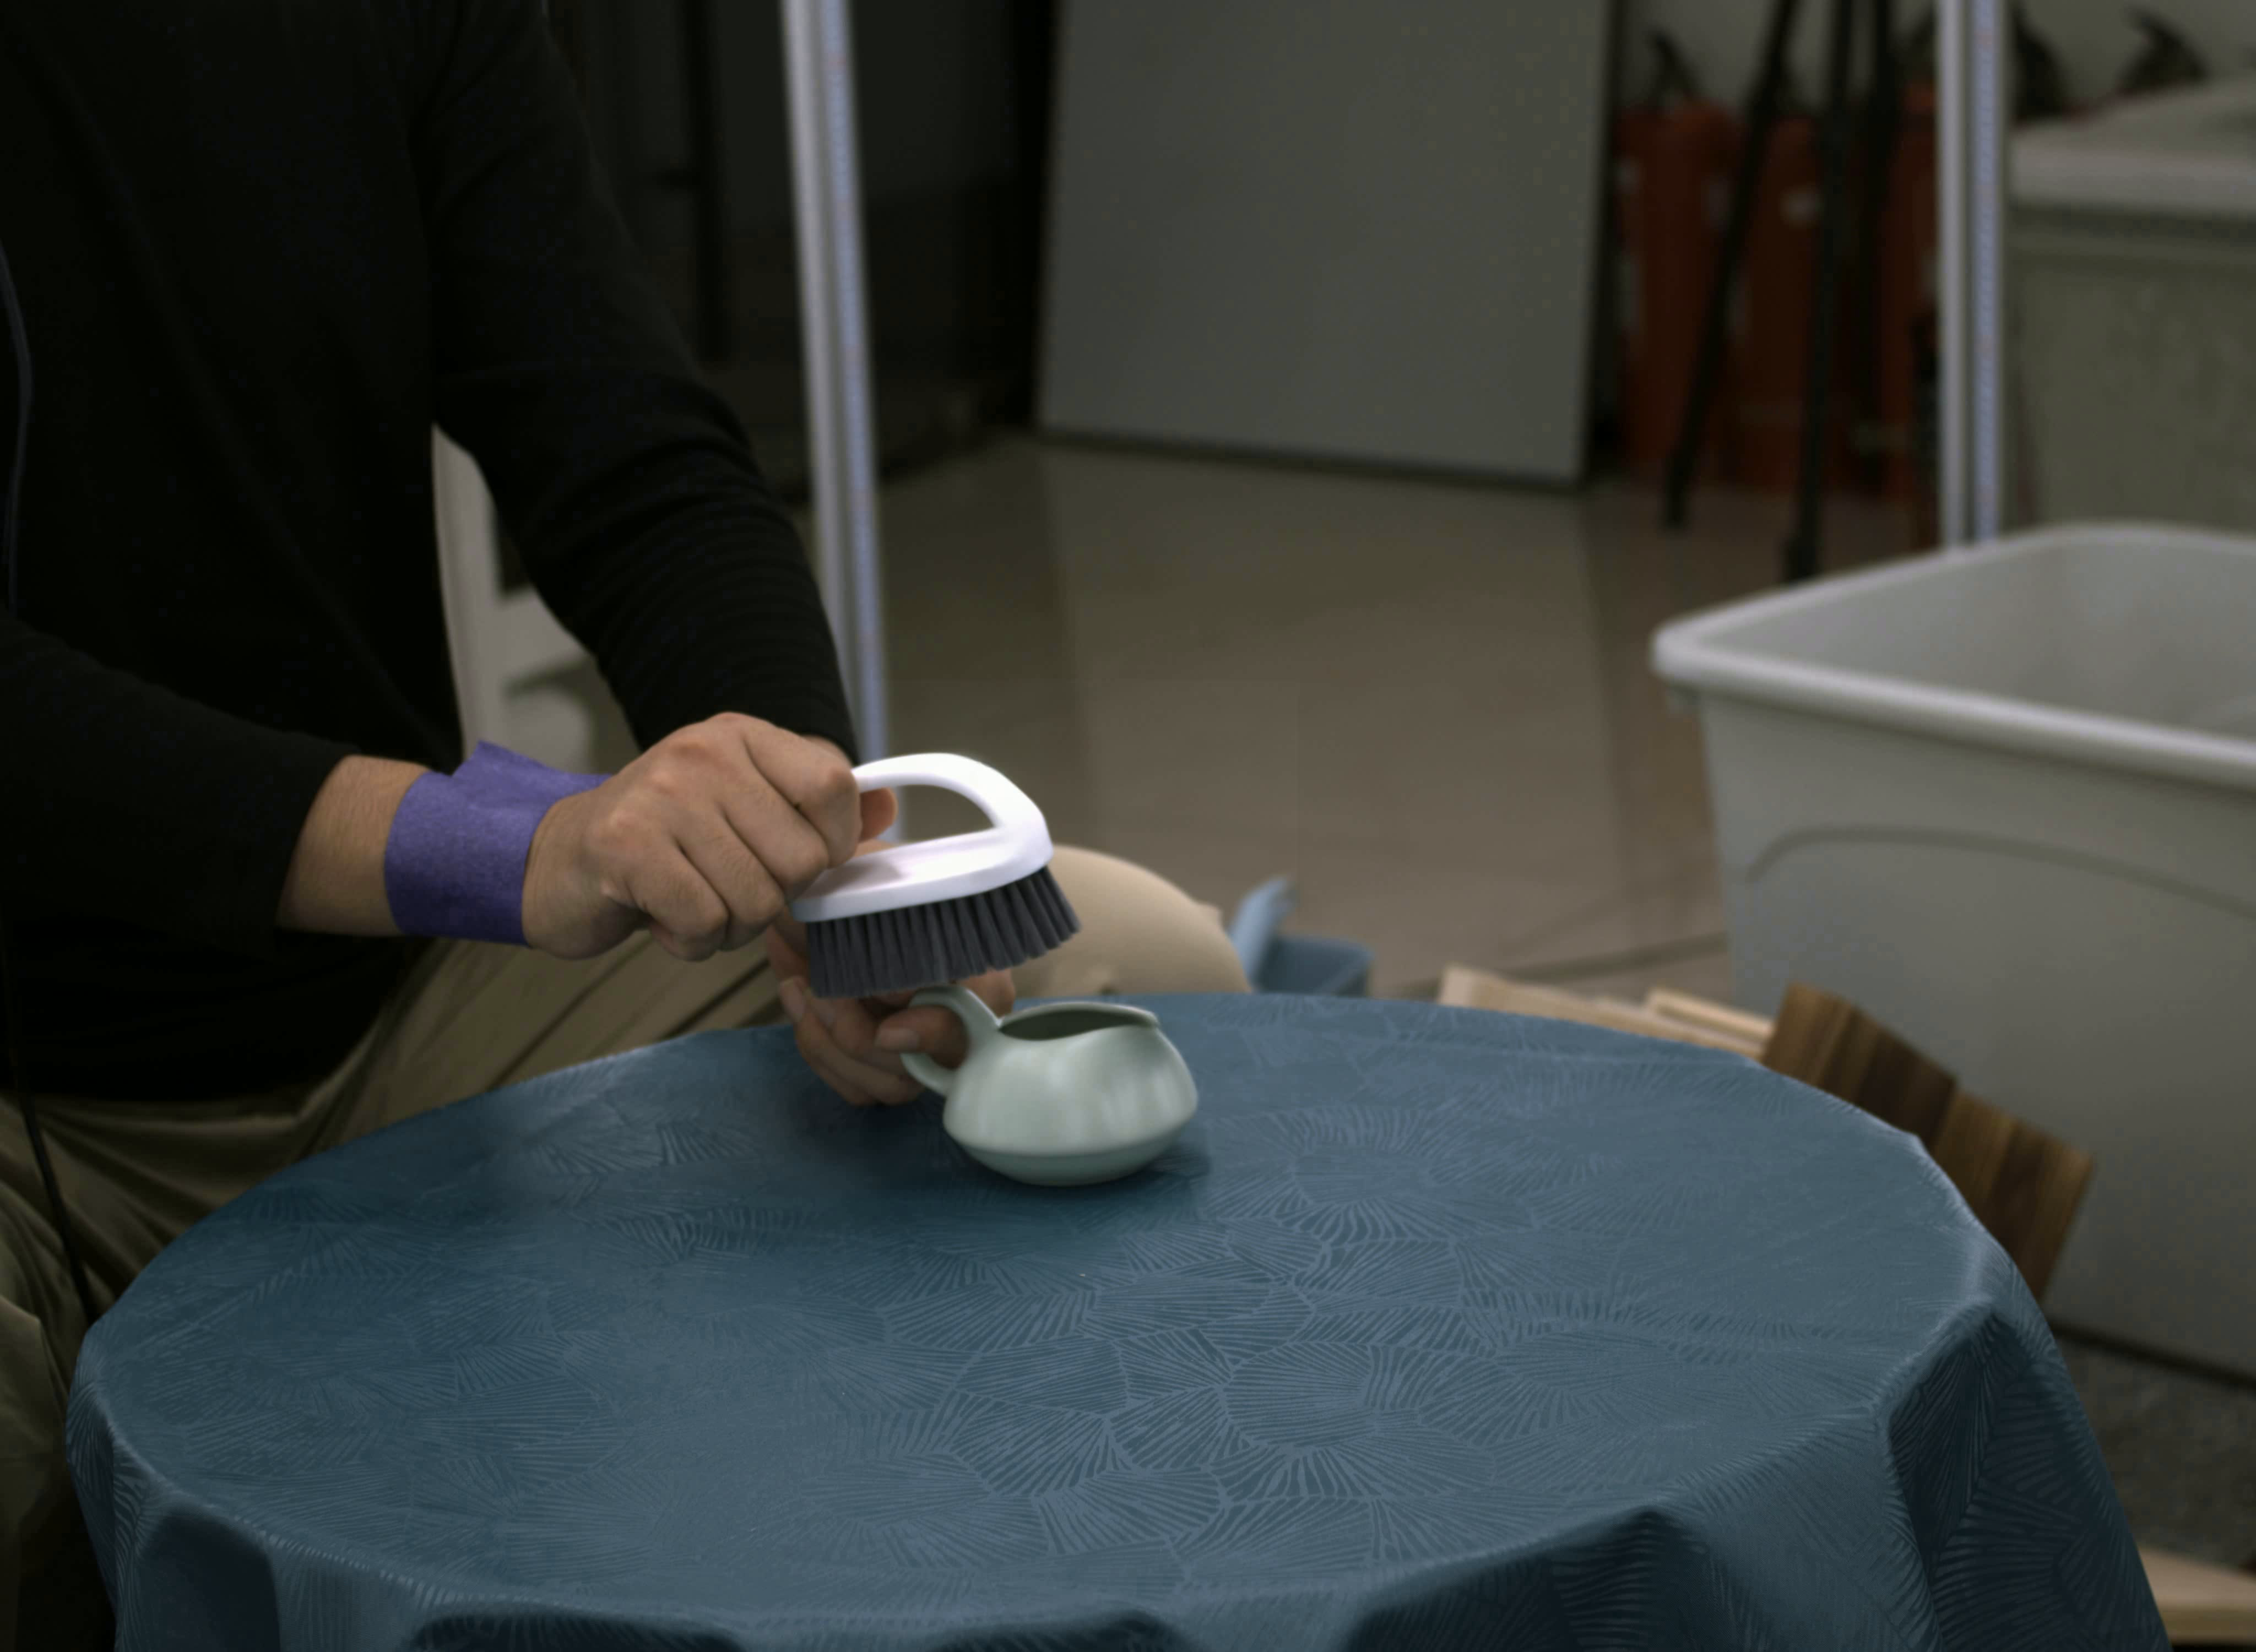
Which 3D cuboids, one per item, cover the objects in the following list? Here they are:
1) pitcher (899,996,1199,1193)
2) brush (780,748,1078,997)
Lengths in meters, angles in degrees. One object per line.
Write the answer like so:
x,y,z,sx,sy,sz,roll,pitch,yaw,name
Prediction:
-0.029,0.088,1.798,0.108,0.061,0.085,0,13,29,pitcher
-0.071,0.011,1.790,0.099,0.073,0.049,-10,14,32,brush
